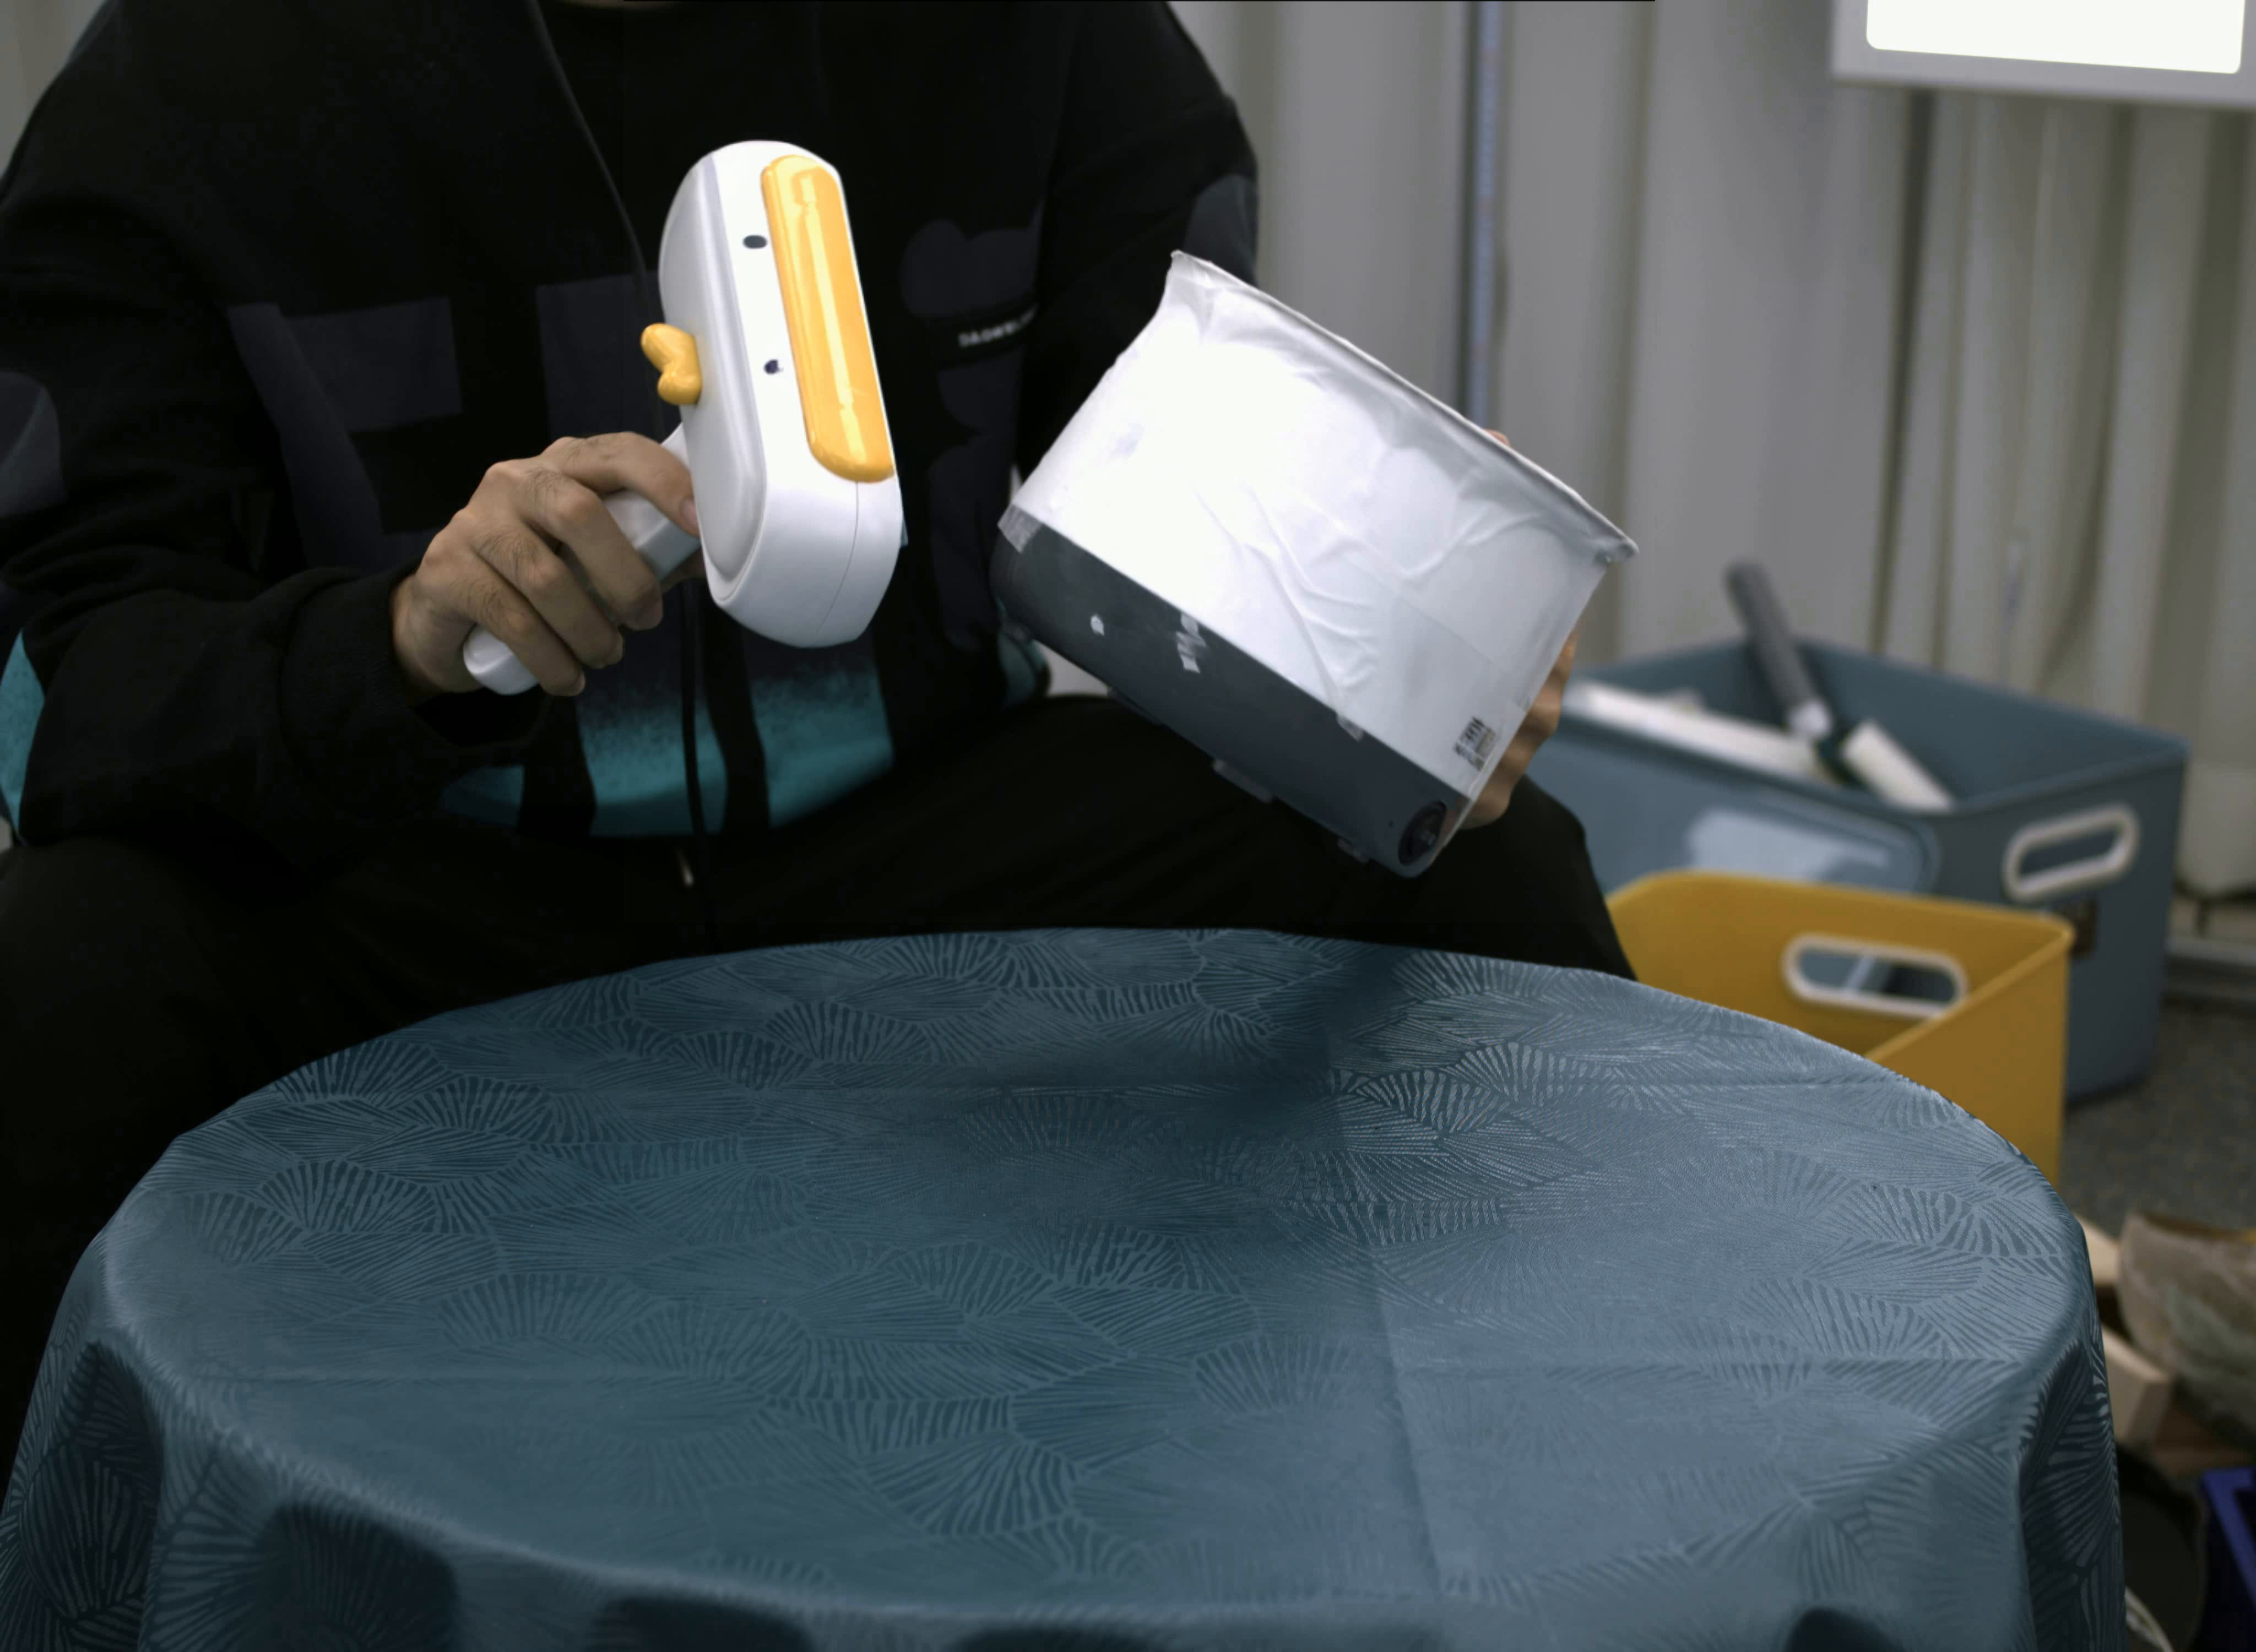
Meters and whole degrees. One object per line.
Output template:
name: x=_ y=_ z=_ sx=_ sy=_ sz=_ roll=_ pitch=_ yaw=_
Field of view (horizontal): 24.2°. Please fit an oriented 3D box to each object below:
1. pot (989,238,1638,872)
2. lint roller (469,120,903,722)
pot: x=0.065 y=-0.079 z=1.708 sx=0.176 sy=0.137 sz=0.236 roll=36 pitch=4 yaw=26
lint roller: x=-0.147 y=-0.106 z=1.691 sx=0.075 sy=0.193 sz=0.190 roll=11 pitch=41 yaw=-33
